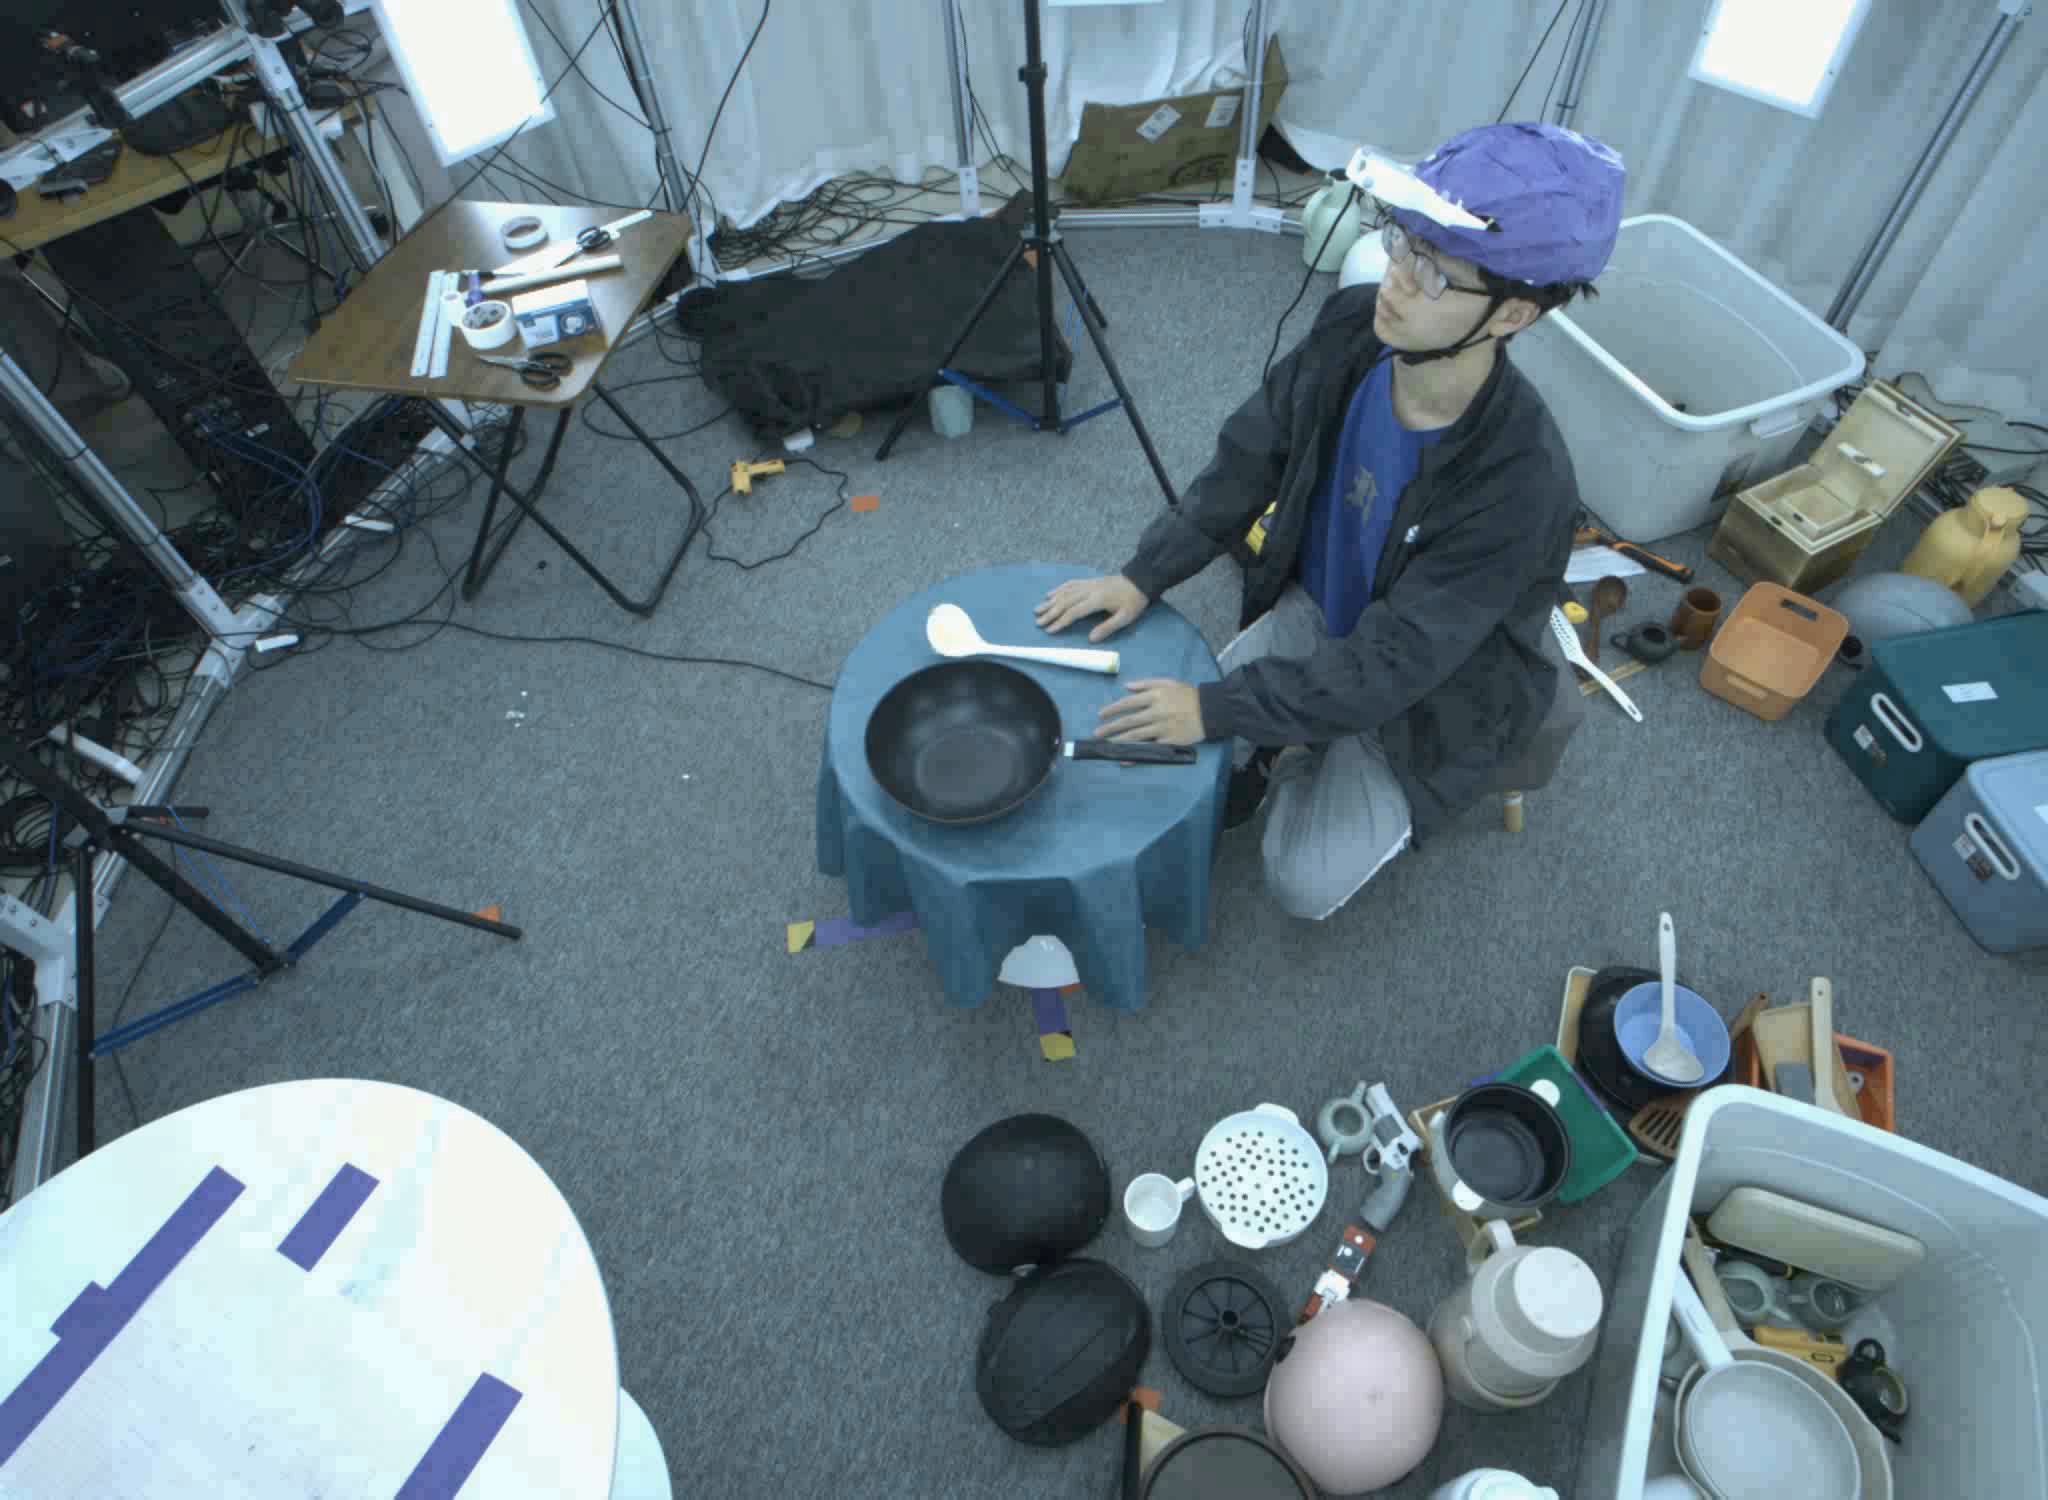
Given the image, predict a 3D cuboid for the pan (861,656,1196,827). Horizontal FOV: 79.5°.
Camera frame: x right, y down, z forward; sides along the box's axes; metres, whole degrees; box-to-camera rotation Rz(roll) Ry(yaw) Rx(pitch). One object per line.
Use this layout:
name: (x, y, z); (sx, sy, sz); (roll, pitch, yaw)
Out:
pan: (0.006, 0.010, 1.721); (0.462, 0.088, 0.286); (6, 55, 5)

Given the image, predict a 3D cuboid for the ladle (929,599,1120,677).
ladle: (0.001, -0.163, 1.856); (0.291, 0.070, 0.090); (11, 53, 8)
